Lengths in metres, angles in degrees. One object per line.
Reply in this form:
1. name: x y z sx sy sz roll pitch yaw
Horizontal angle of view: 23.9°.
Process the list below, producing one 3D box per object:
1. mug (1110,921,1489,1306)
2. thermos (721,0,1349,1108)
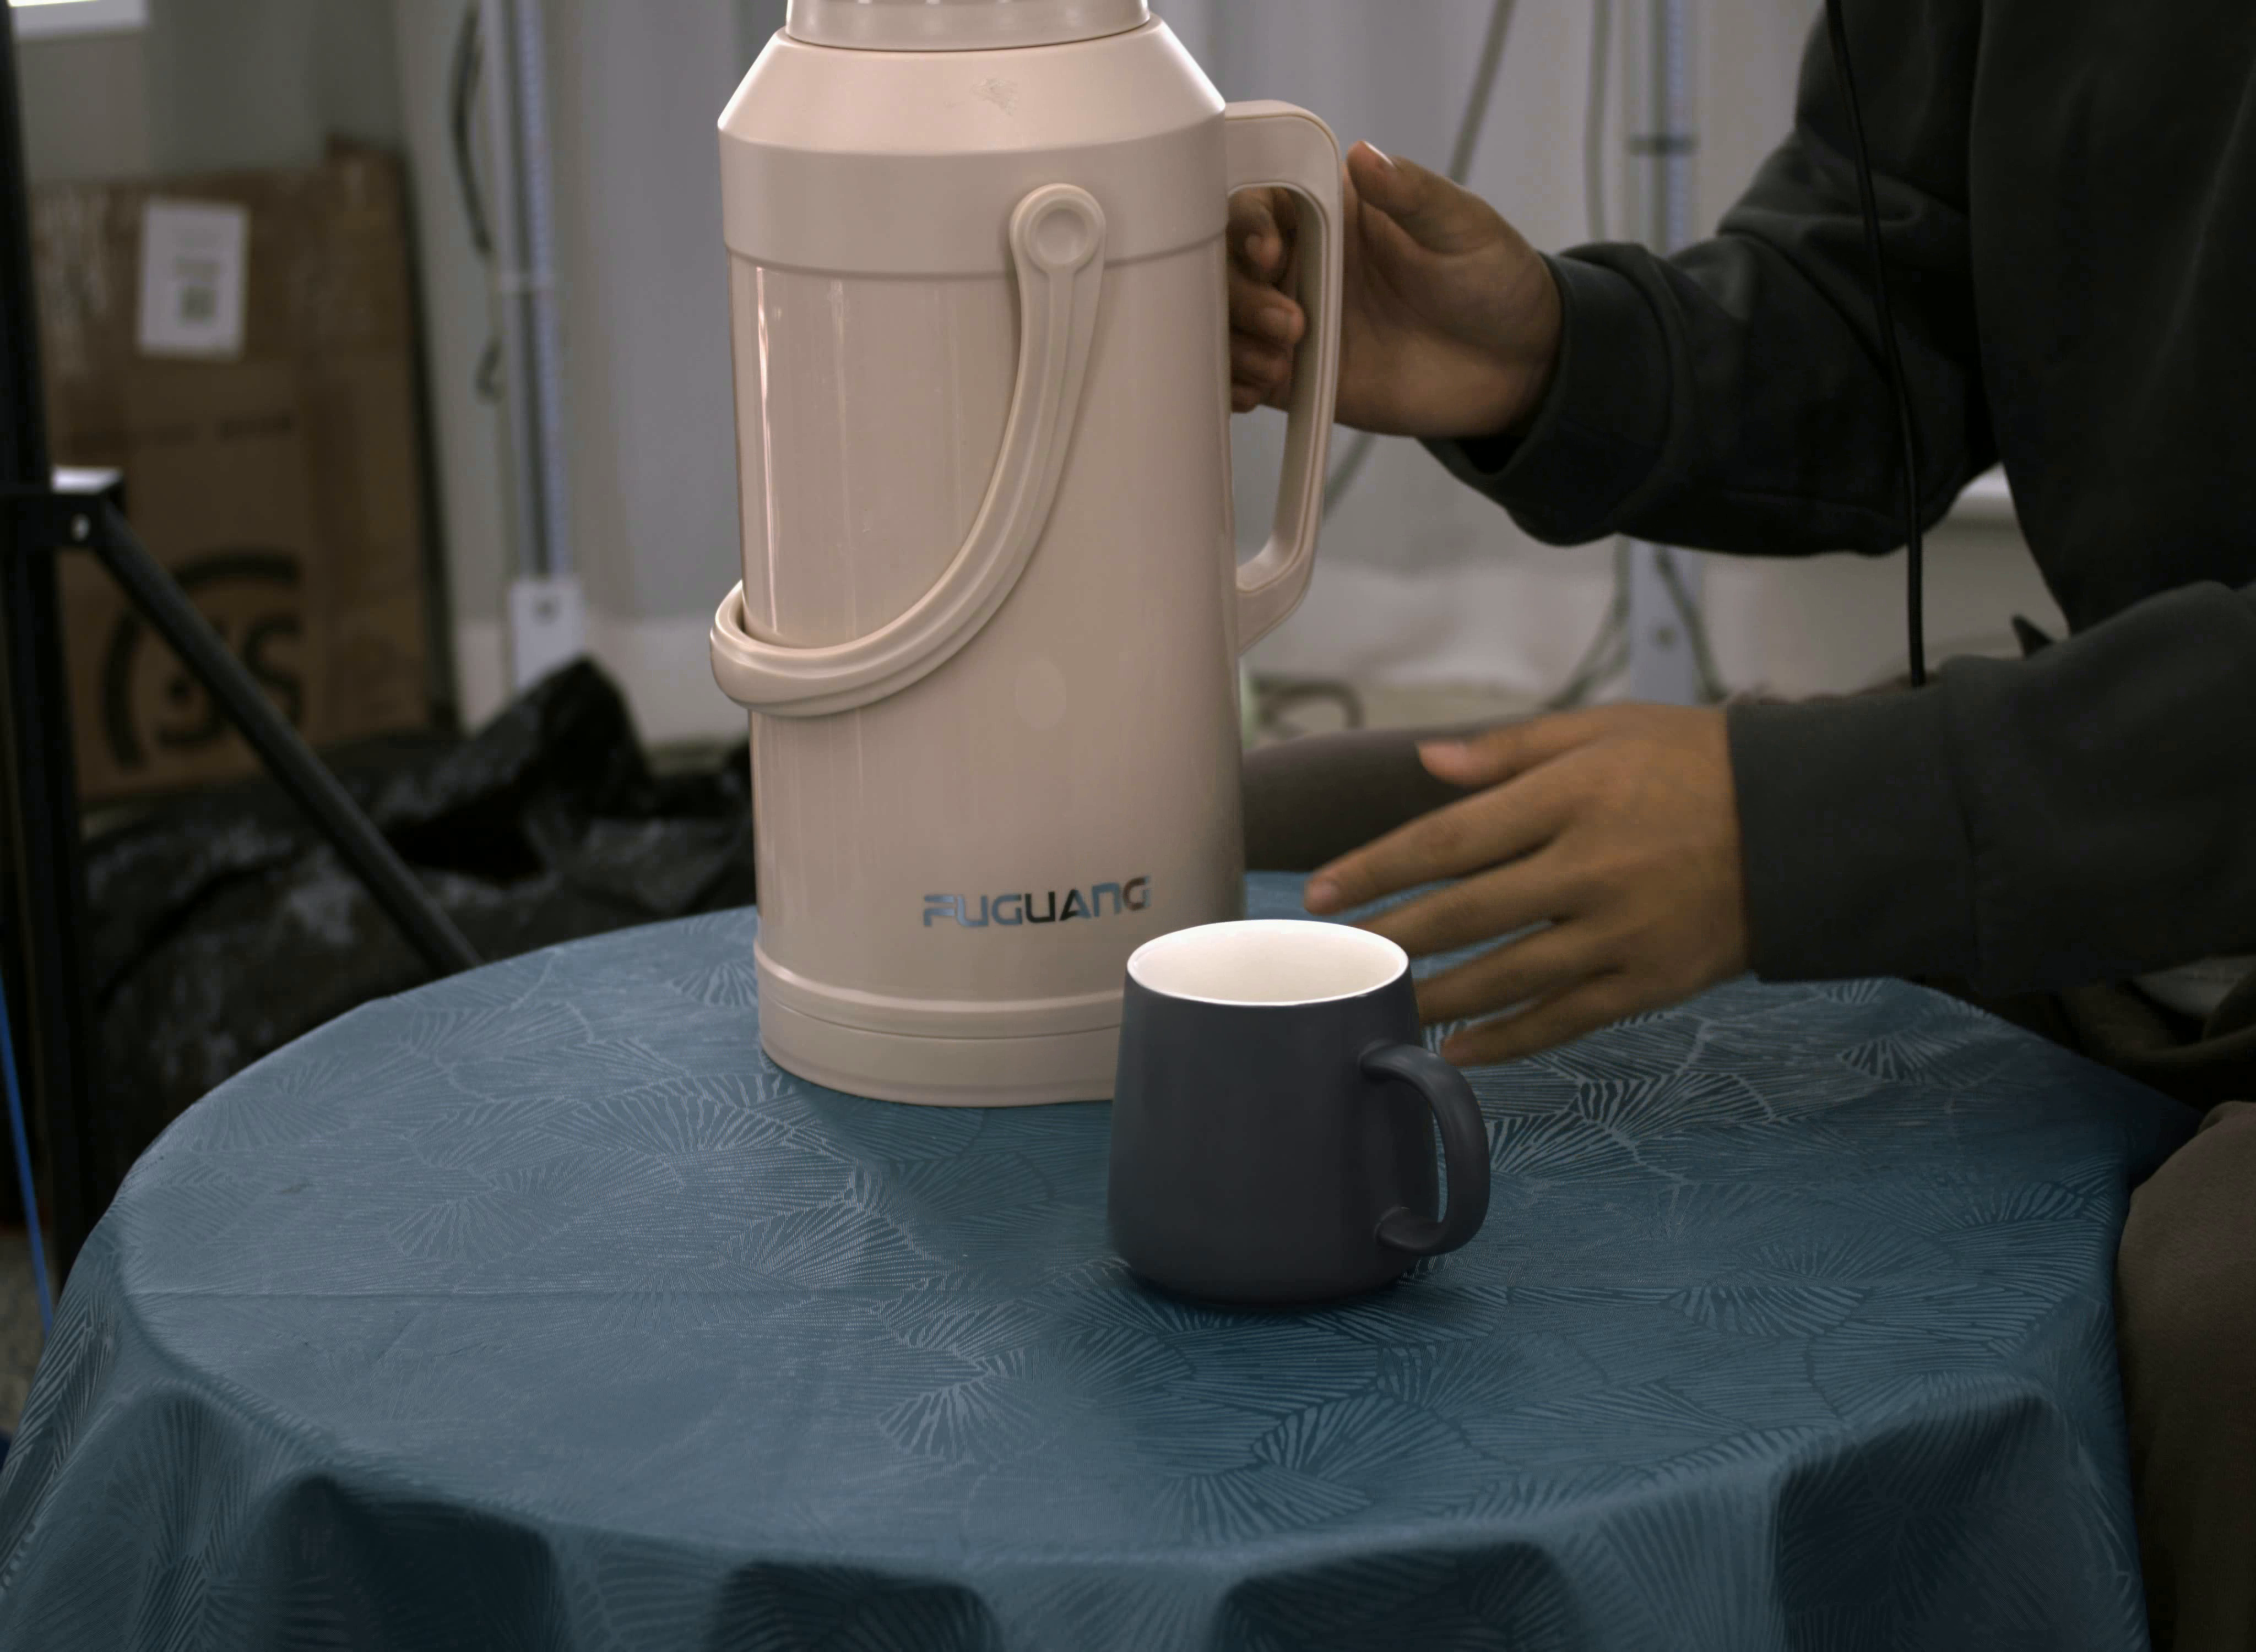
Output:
1. mug: 0.051 0.083 1.471 0.091 0.090 0.126 -15 20 -40
2. thermos: -0.029 -0.127 1.664 0.204 0.406 0.178 -7 15 -16
